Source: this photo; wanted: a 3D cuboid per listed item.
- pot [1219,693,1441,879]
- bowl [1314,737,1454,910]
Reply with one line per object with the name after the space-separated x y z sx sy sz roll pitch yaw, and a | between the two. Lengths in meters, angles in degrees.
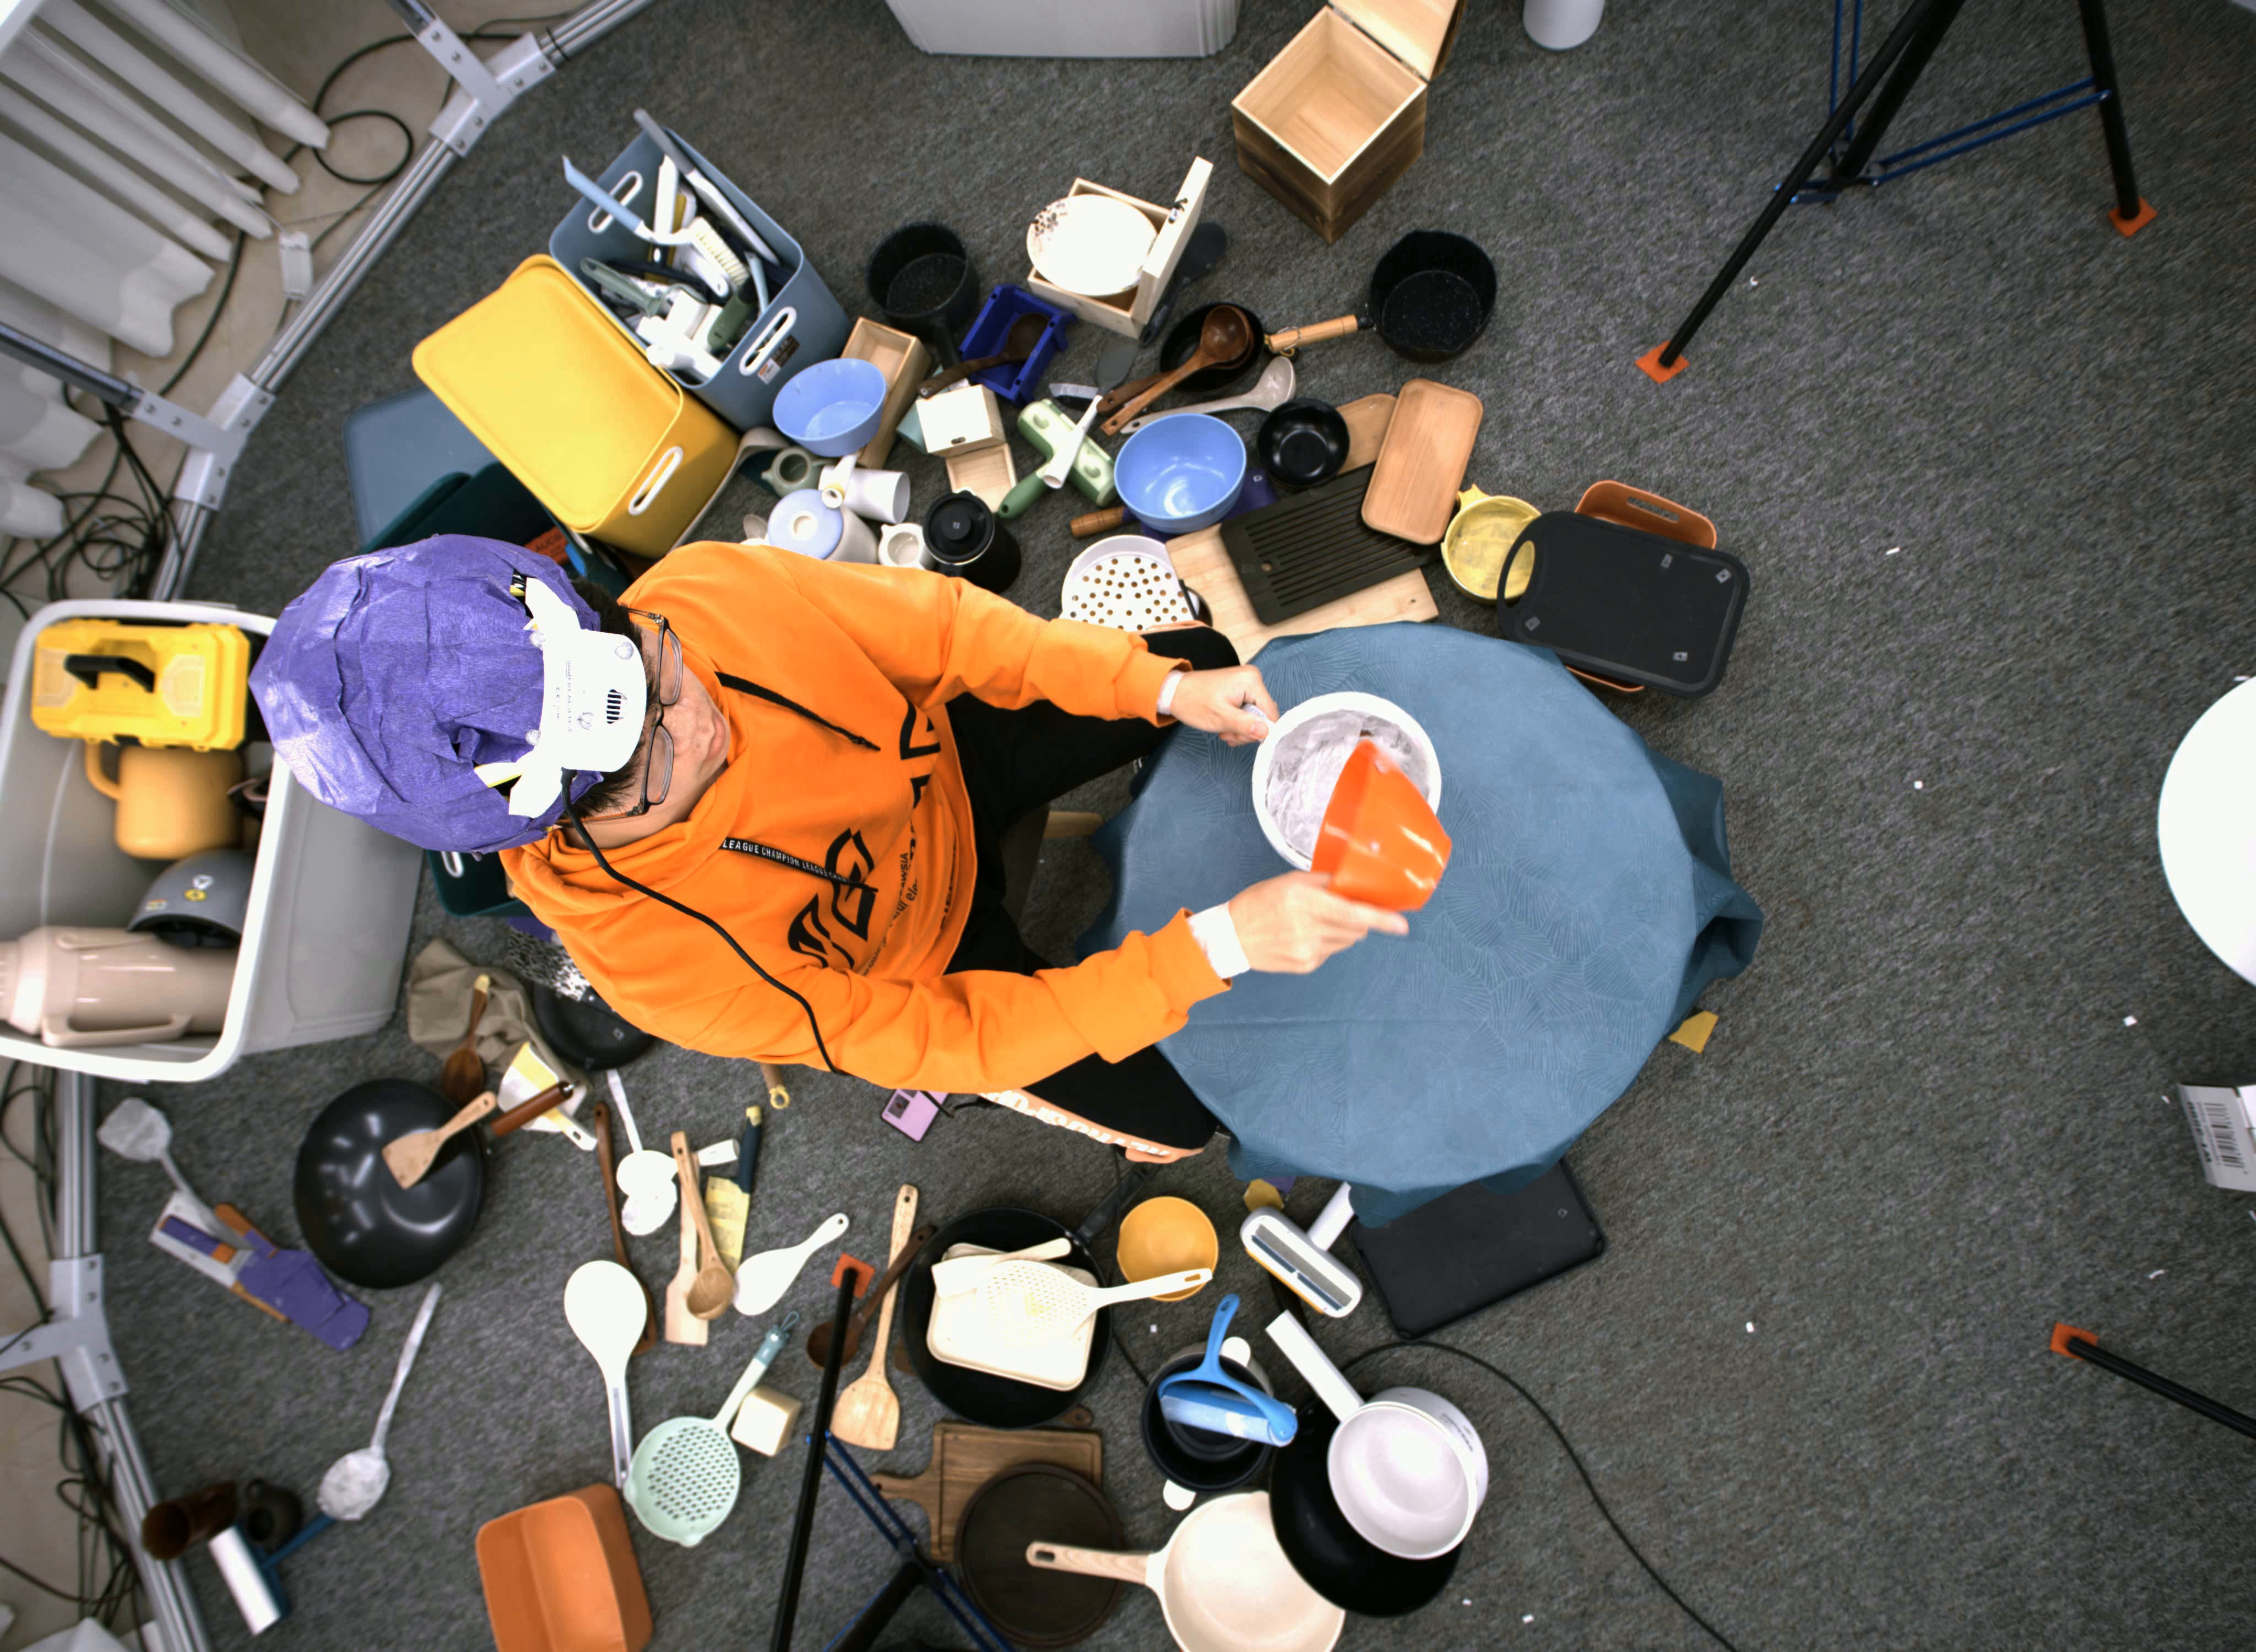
0.189 -0.050 1.364 0.233 0.136 0.179 35 92 7 | pot
0.221 0.009 1.186 0.104 0.148 0.148 24 89 6 | bowl
